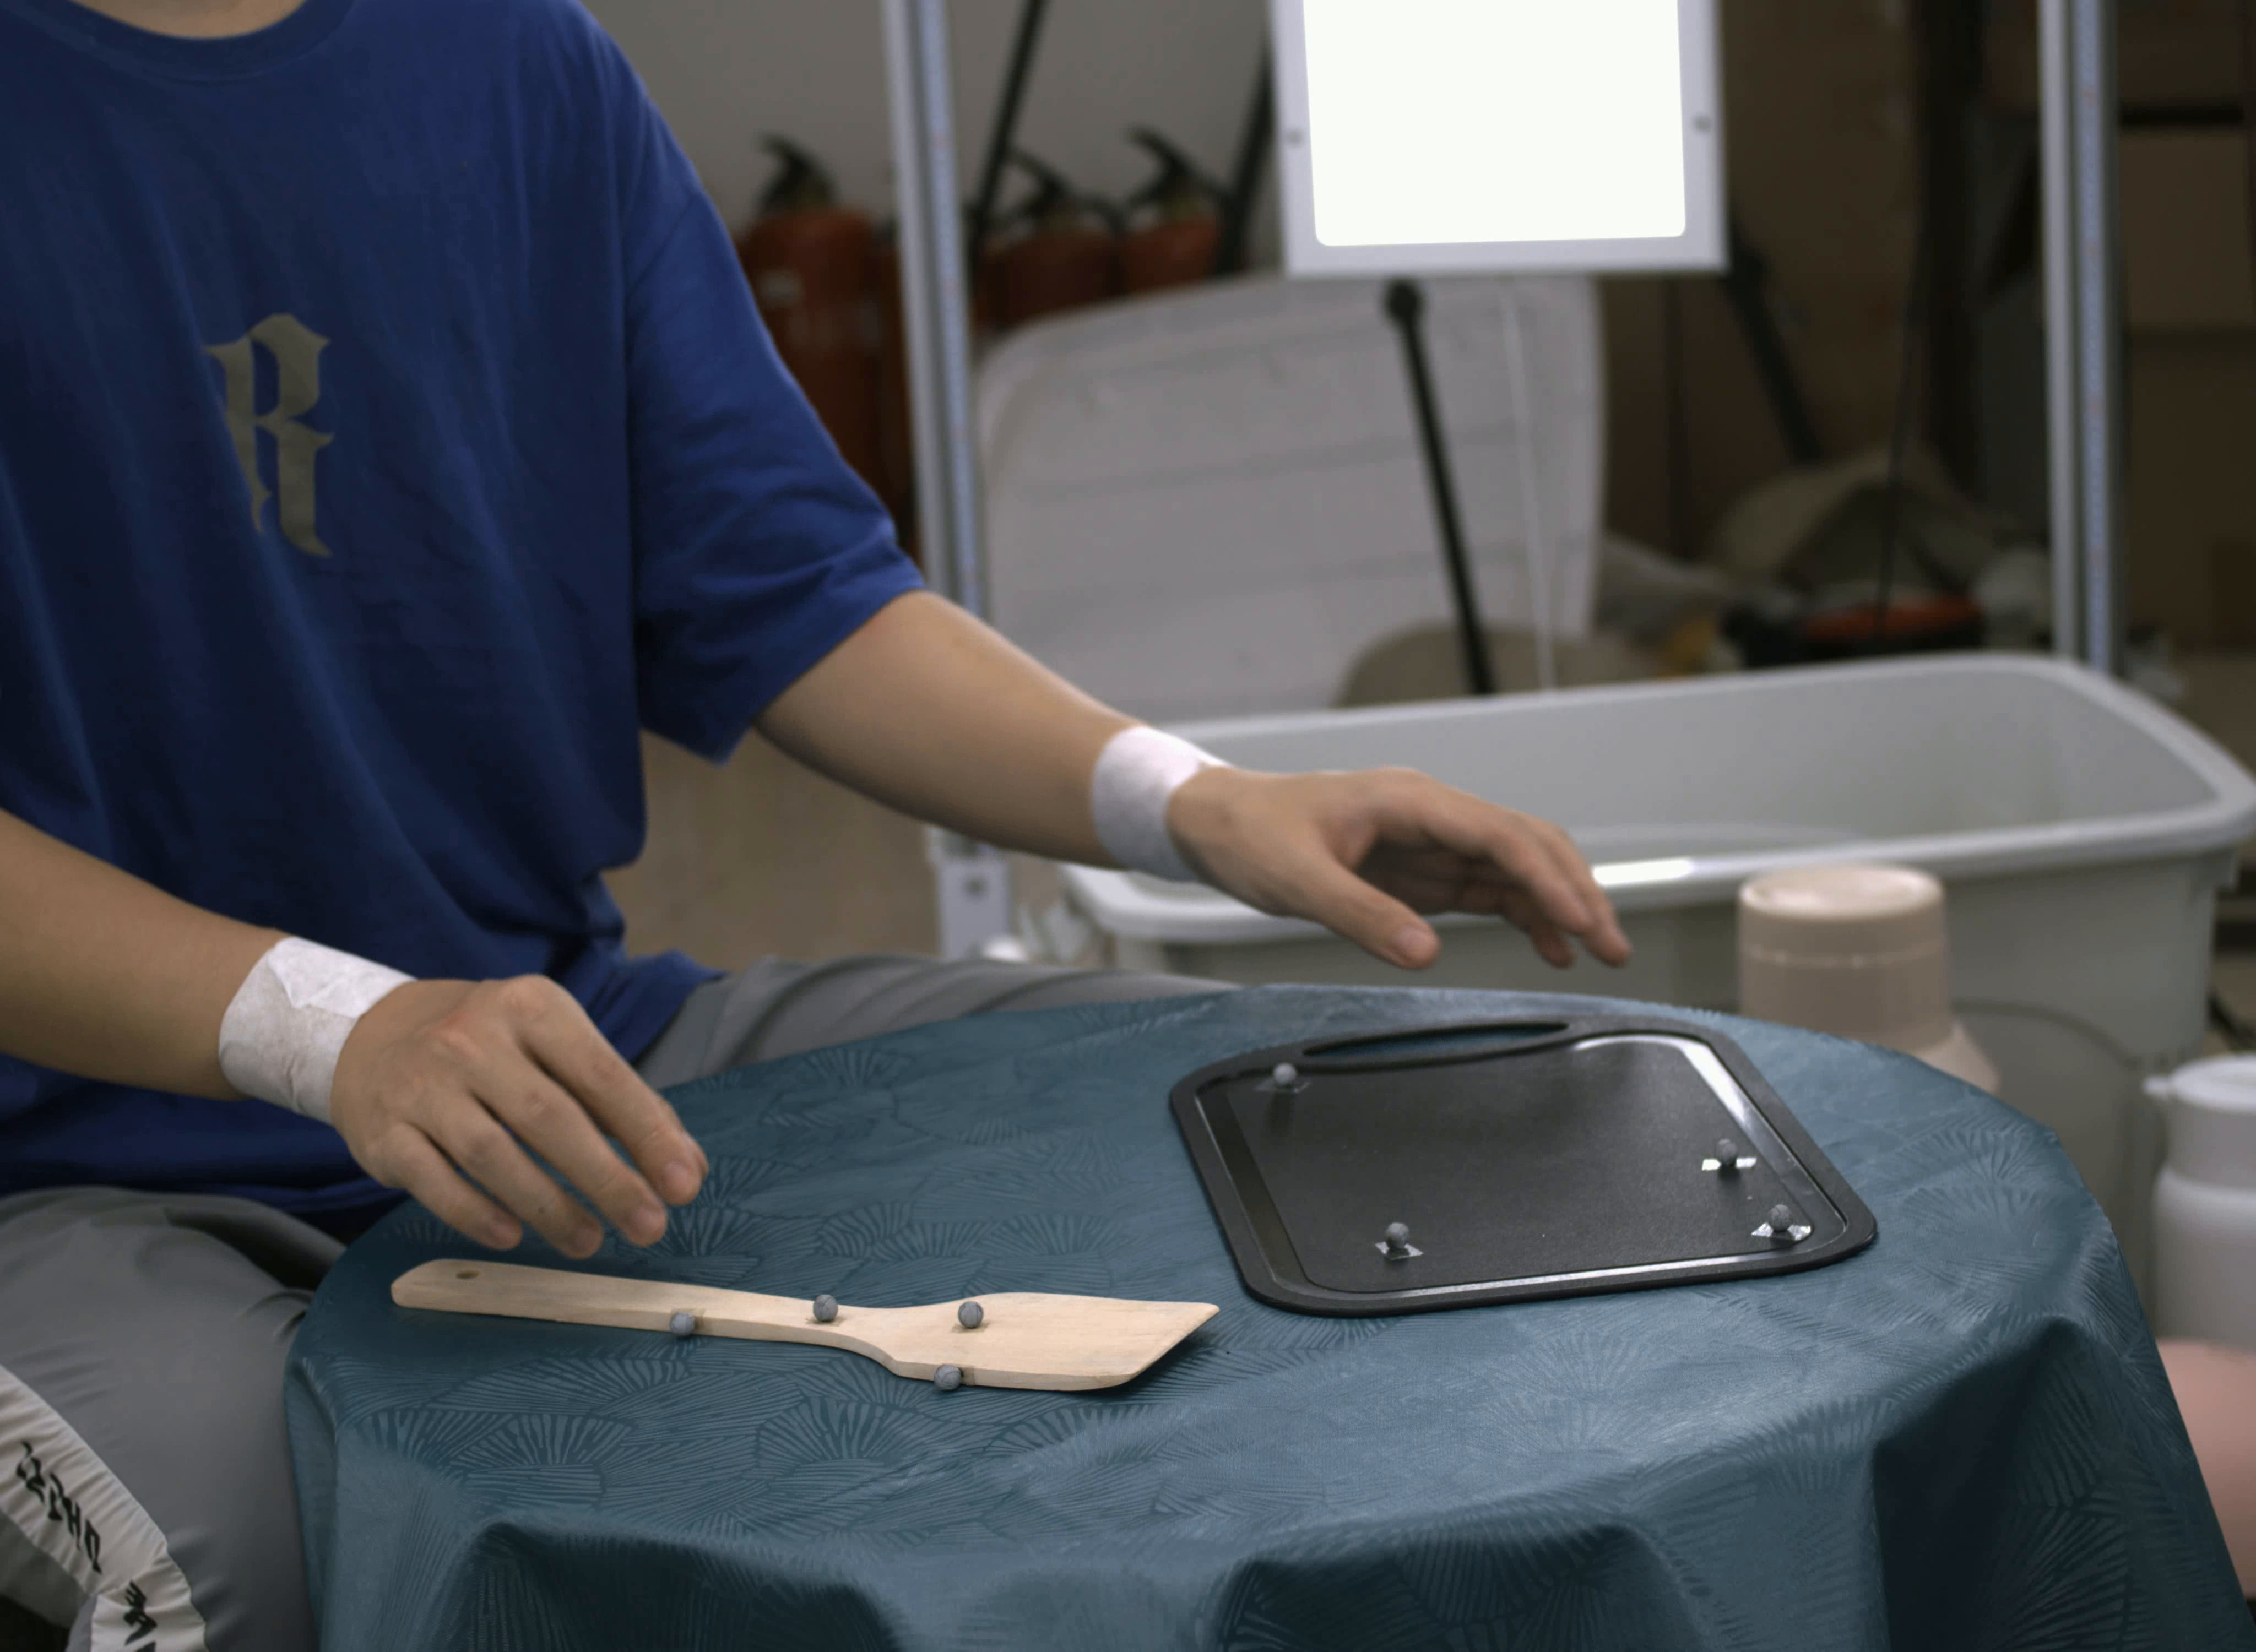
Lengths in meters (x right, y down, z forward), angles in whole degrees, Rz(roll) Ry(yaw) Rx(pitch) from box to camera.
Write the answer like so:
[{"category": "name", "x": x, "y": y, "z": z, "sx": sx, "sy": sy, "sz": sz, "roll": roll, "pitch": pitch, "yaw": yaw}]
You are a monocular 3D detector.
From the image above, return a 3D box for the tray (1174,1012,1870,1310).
[{"category": "tray", "x": 0.129, "y": 0.109, "z": 1.904, "sx": 0.210, "sy": 0.010, "sz": 0.326, "roll": -6, "pitch": 14, "yaw": -3}]

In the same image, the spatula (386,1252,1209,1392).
[{"category": "spatula", "x": -0.117, "y": 0.158, "z": 1.791, "sx": 0.298, "sy": 0.011, "sz": 0.071, "roll": 3, "pitch": 17, "yaw": 29}]
